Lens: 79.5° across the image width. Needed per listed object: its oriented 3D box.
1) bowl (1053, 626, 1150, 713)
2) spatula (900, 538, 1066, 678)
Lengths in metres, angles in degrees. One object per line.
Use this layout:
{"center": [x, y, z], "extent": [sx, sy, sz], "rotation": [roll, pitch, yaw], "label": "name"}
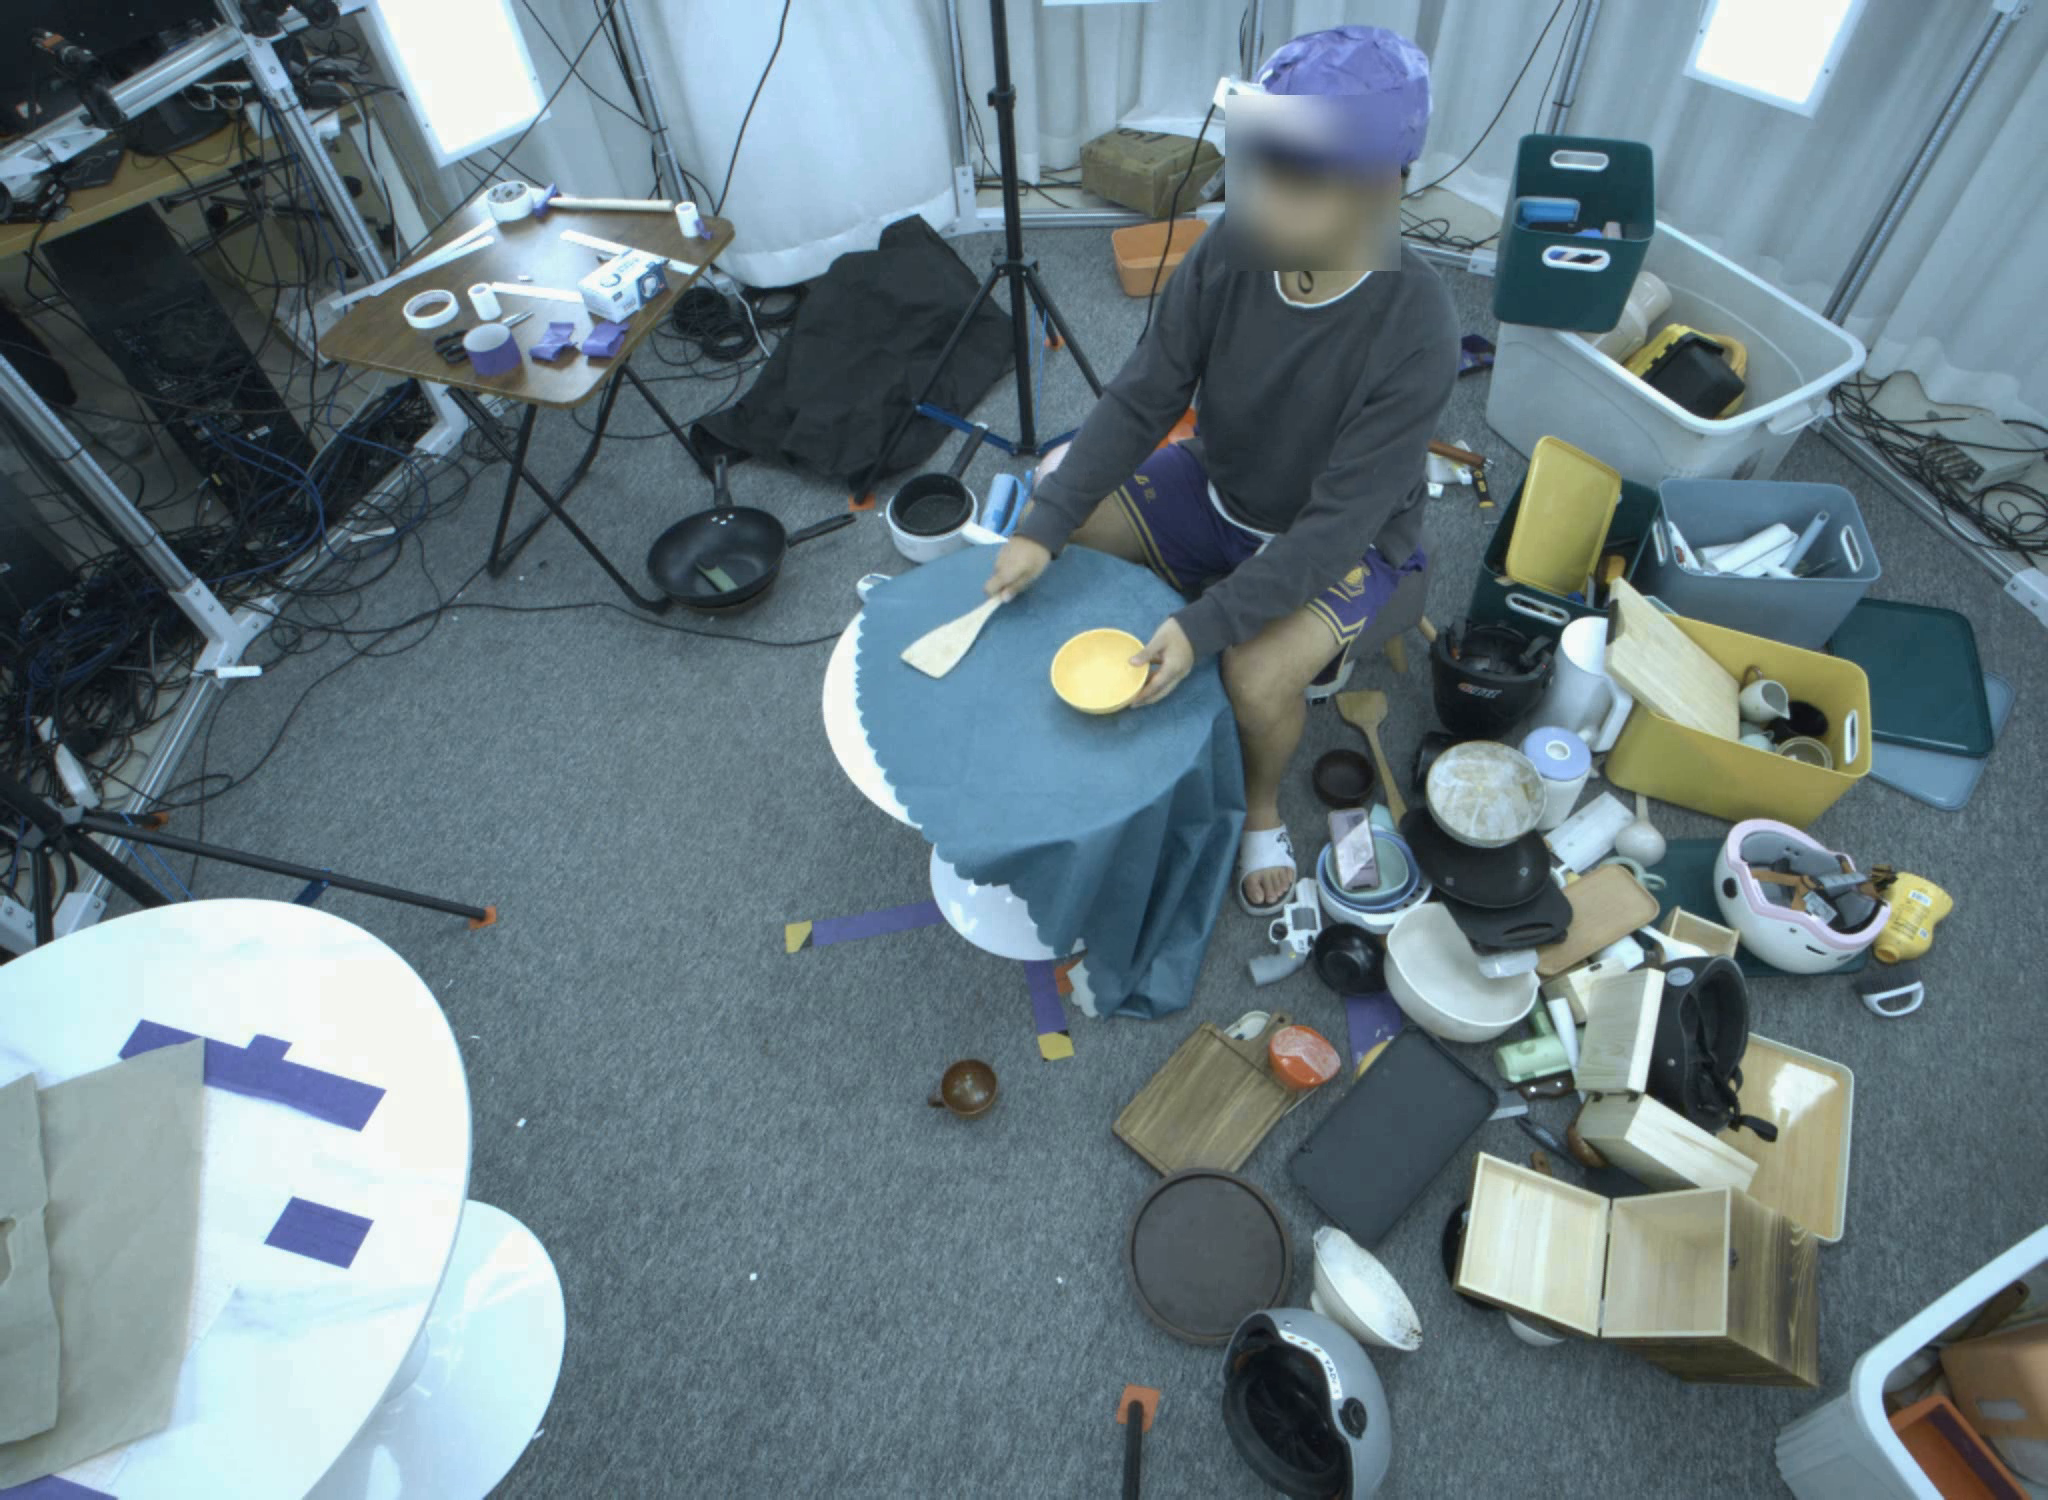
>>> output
{"center": [0.118, -0.108, 1.821], "extent": [0.144, 0.061, 0.144], "rotation": [-4, 59, 8], "label": "bowl"}
{"center": [-0.053, -0.229, 1.923], "extent": [0.329, 0.017, 0.078], "rotation": [-43, 67, -14], "label": "spatula"}
